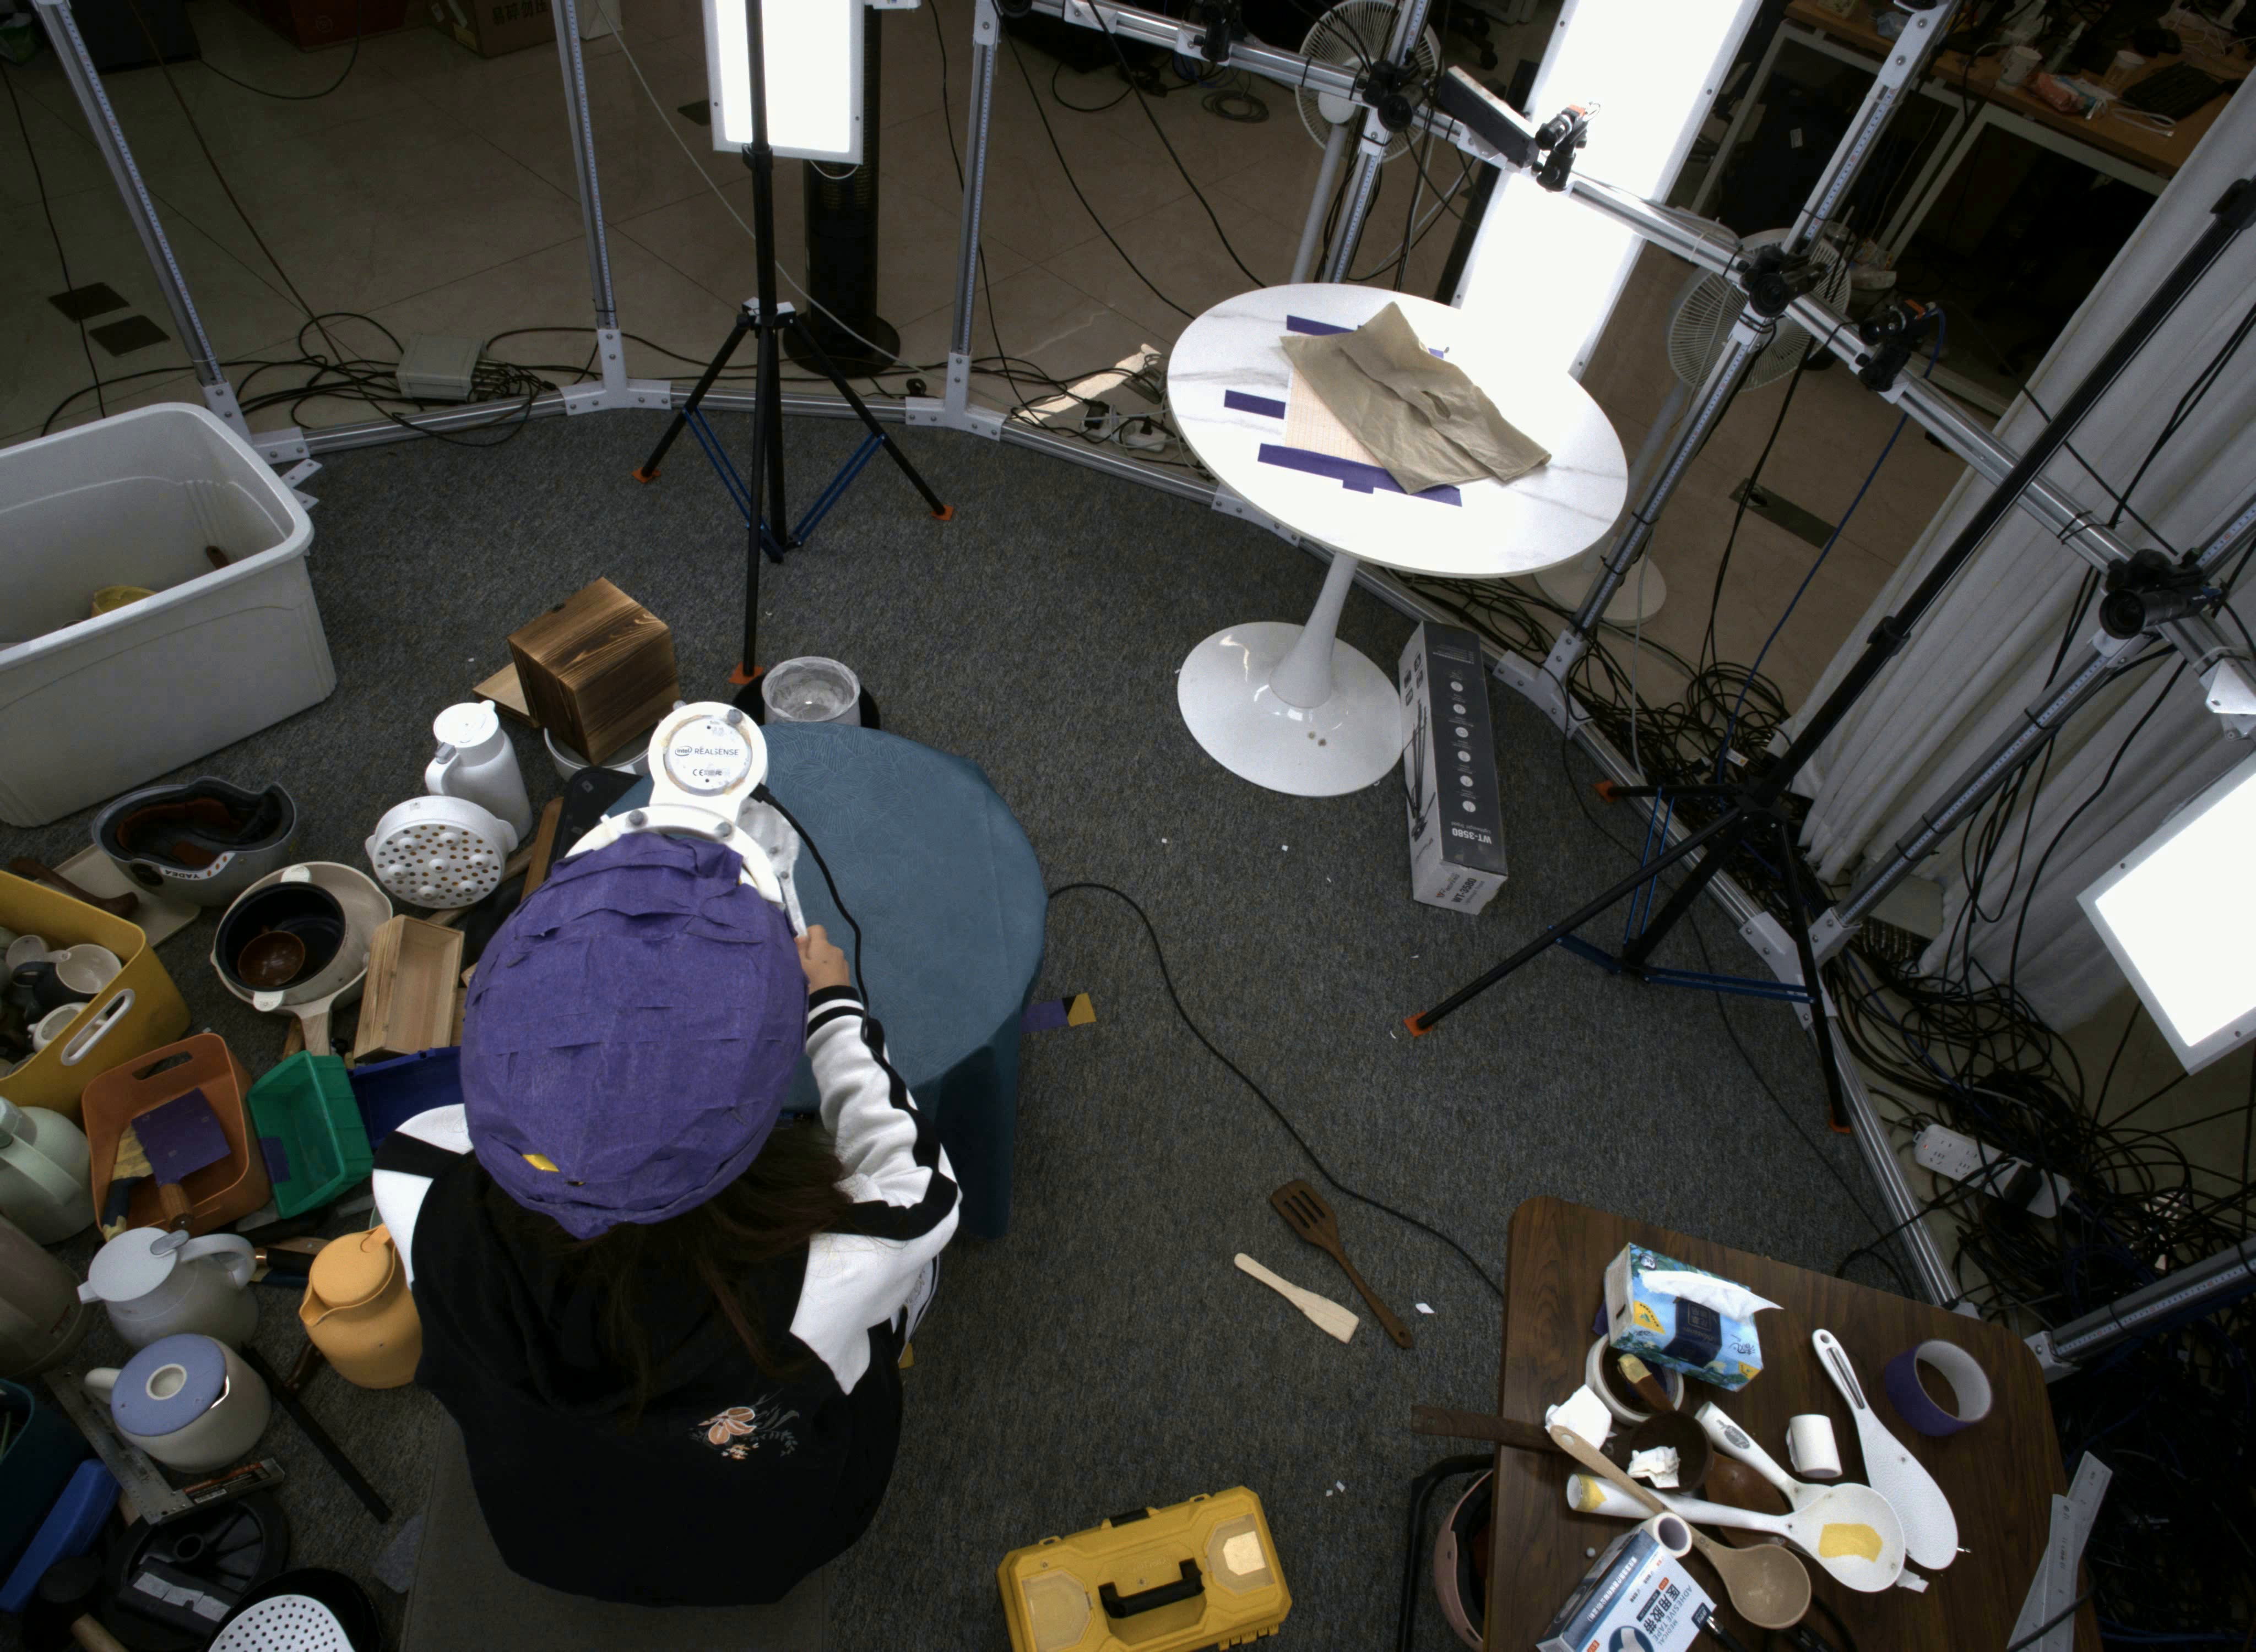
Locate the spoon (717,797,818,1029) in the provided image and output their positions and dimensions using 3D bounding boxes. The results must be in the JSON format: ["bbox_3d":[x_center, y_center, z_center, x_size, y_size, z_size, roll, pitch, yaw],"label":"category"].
[{"bbox_3d":[-0.406,0.098,1.463,0.061,0.099,0.273,24,42,-59],"label":"spoon"}]

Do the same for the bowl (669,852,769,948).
[{"bbox_3d":[-0.498,0.096,1.580,0.118,0.071,0.116,7,52,-8],"label":"bowl"}]
